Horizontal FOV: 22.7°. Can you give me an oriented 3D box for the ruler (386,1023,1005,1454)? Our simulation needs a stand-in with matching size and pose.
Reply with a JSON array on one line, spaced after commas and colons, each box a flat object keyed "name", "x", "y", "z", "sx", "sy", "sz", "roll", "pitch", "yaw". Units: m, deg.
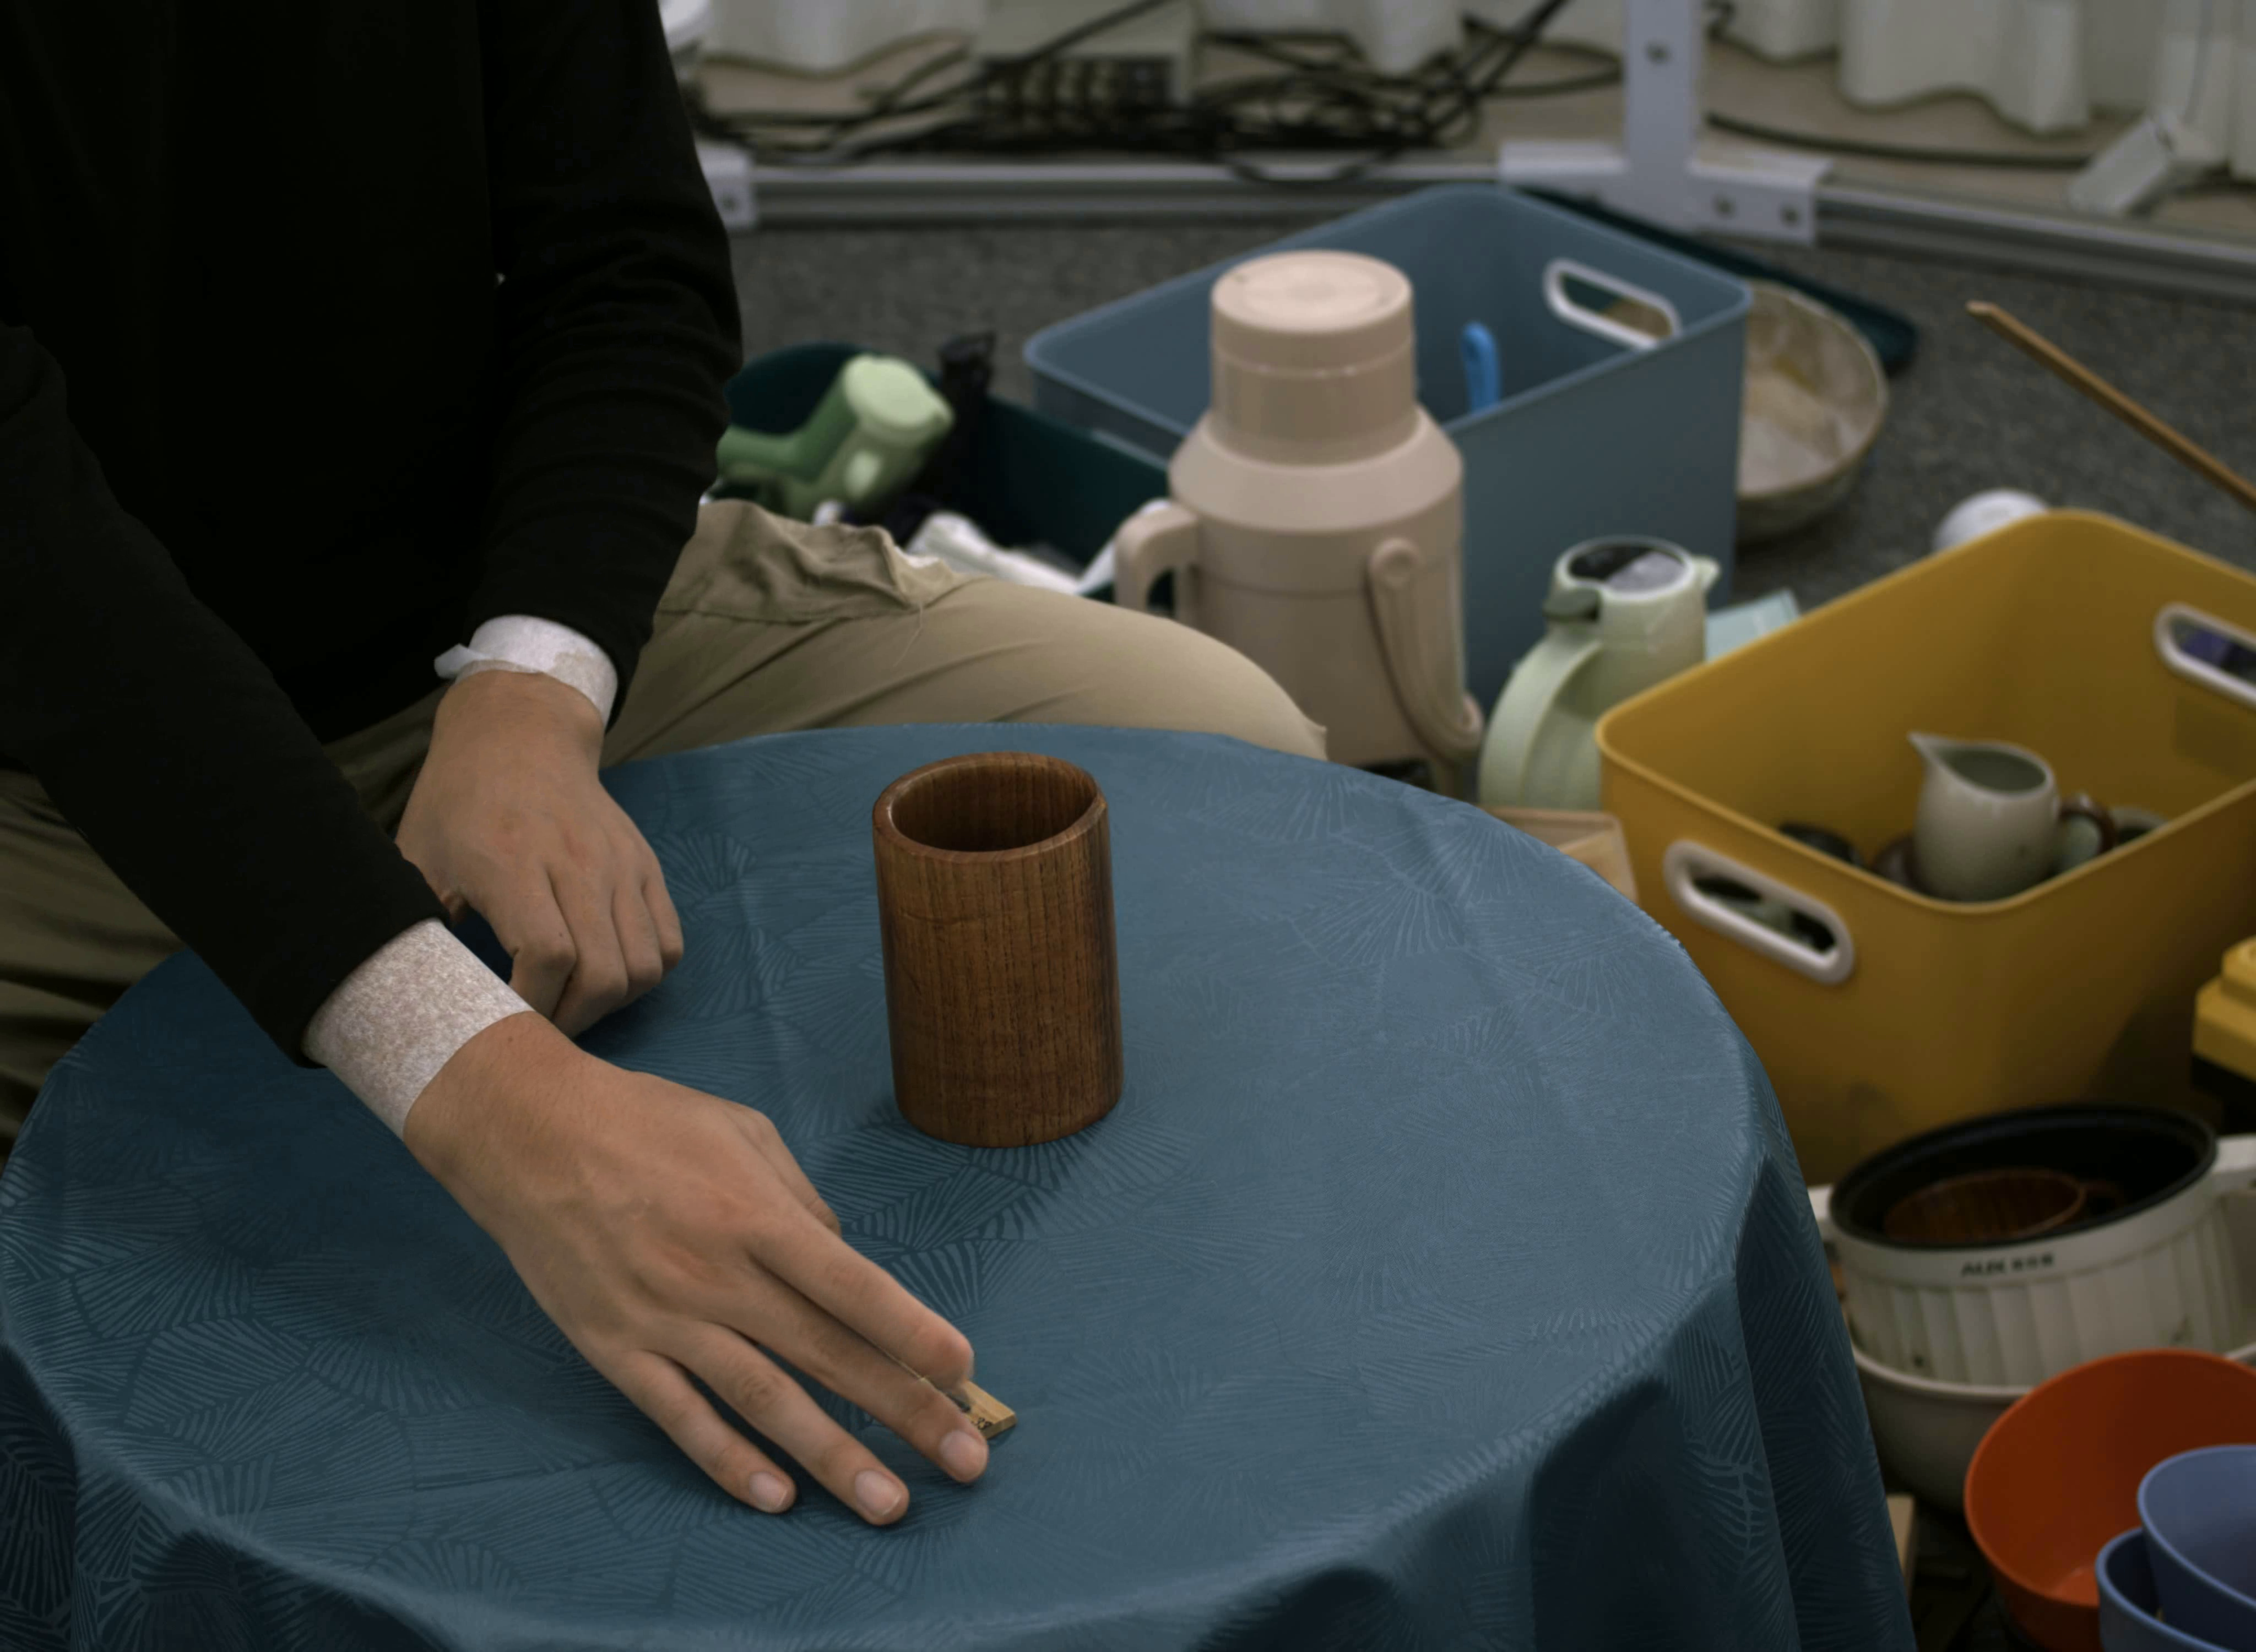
[{"name": "ruler", "x": -0.149, "y": 0.129, "z": 1.850, "sx": 0.028, "sy": 0.022, "sz": 0.332, "roll": -16, "pitch": 30, "yaw": -35}]

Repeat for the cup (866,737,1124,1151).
[{"name": "cup", "x": -0.044, "y": 0.040, "z": 1.898, "sx": 0.087, "sy": 0.117, "sz": 0.089, "roll": -2, "pitch": 26, "yaw": 1}]
